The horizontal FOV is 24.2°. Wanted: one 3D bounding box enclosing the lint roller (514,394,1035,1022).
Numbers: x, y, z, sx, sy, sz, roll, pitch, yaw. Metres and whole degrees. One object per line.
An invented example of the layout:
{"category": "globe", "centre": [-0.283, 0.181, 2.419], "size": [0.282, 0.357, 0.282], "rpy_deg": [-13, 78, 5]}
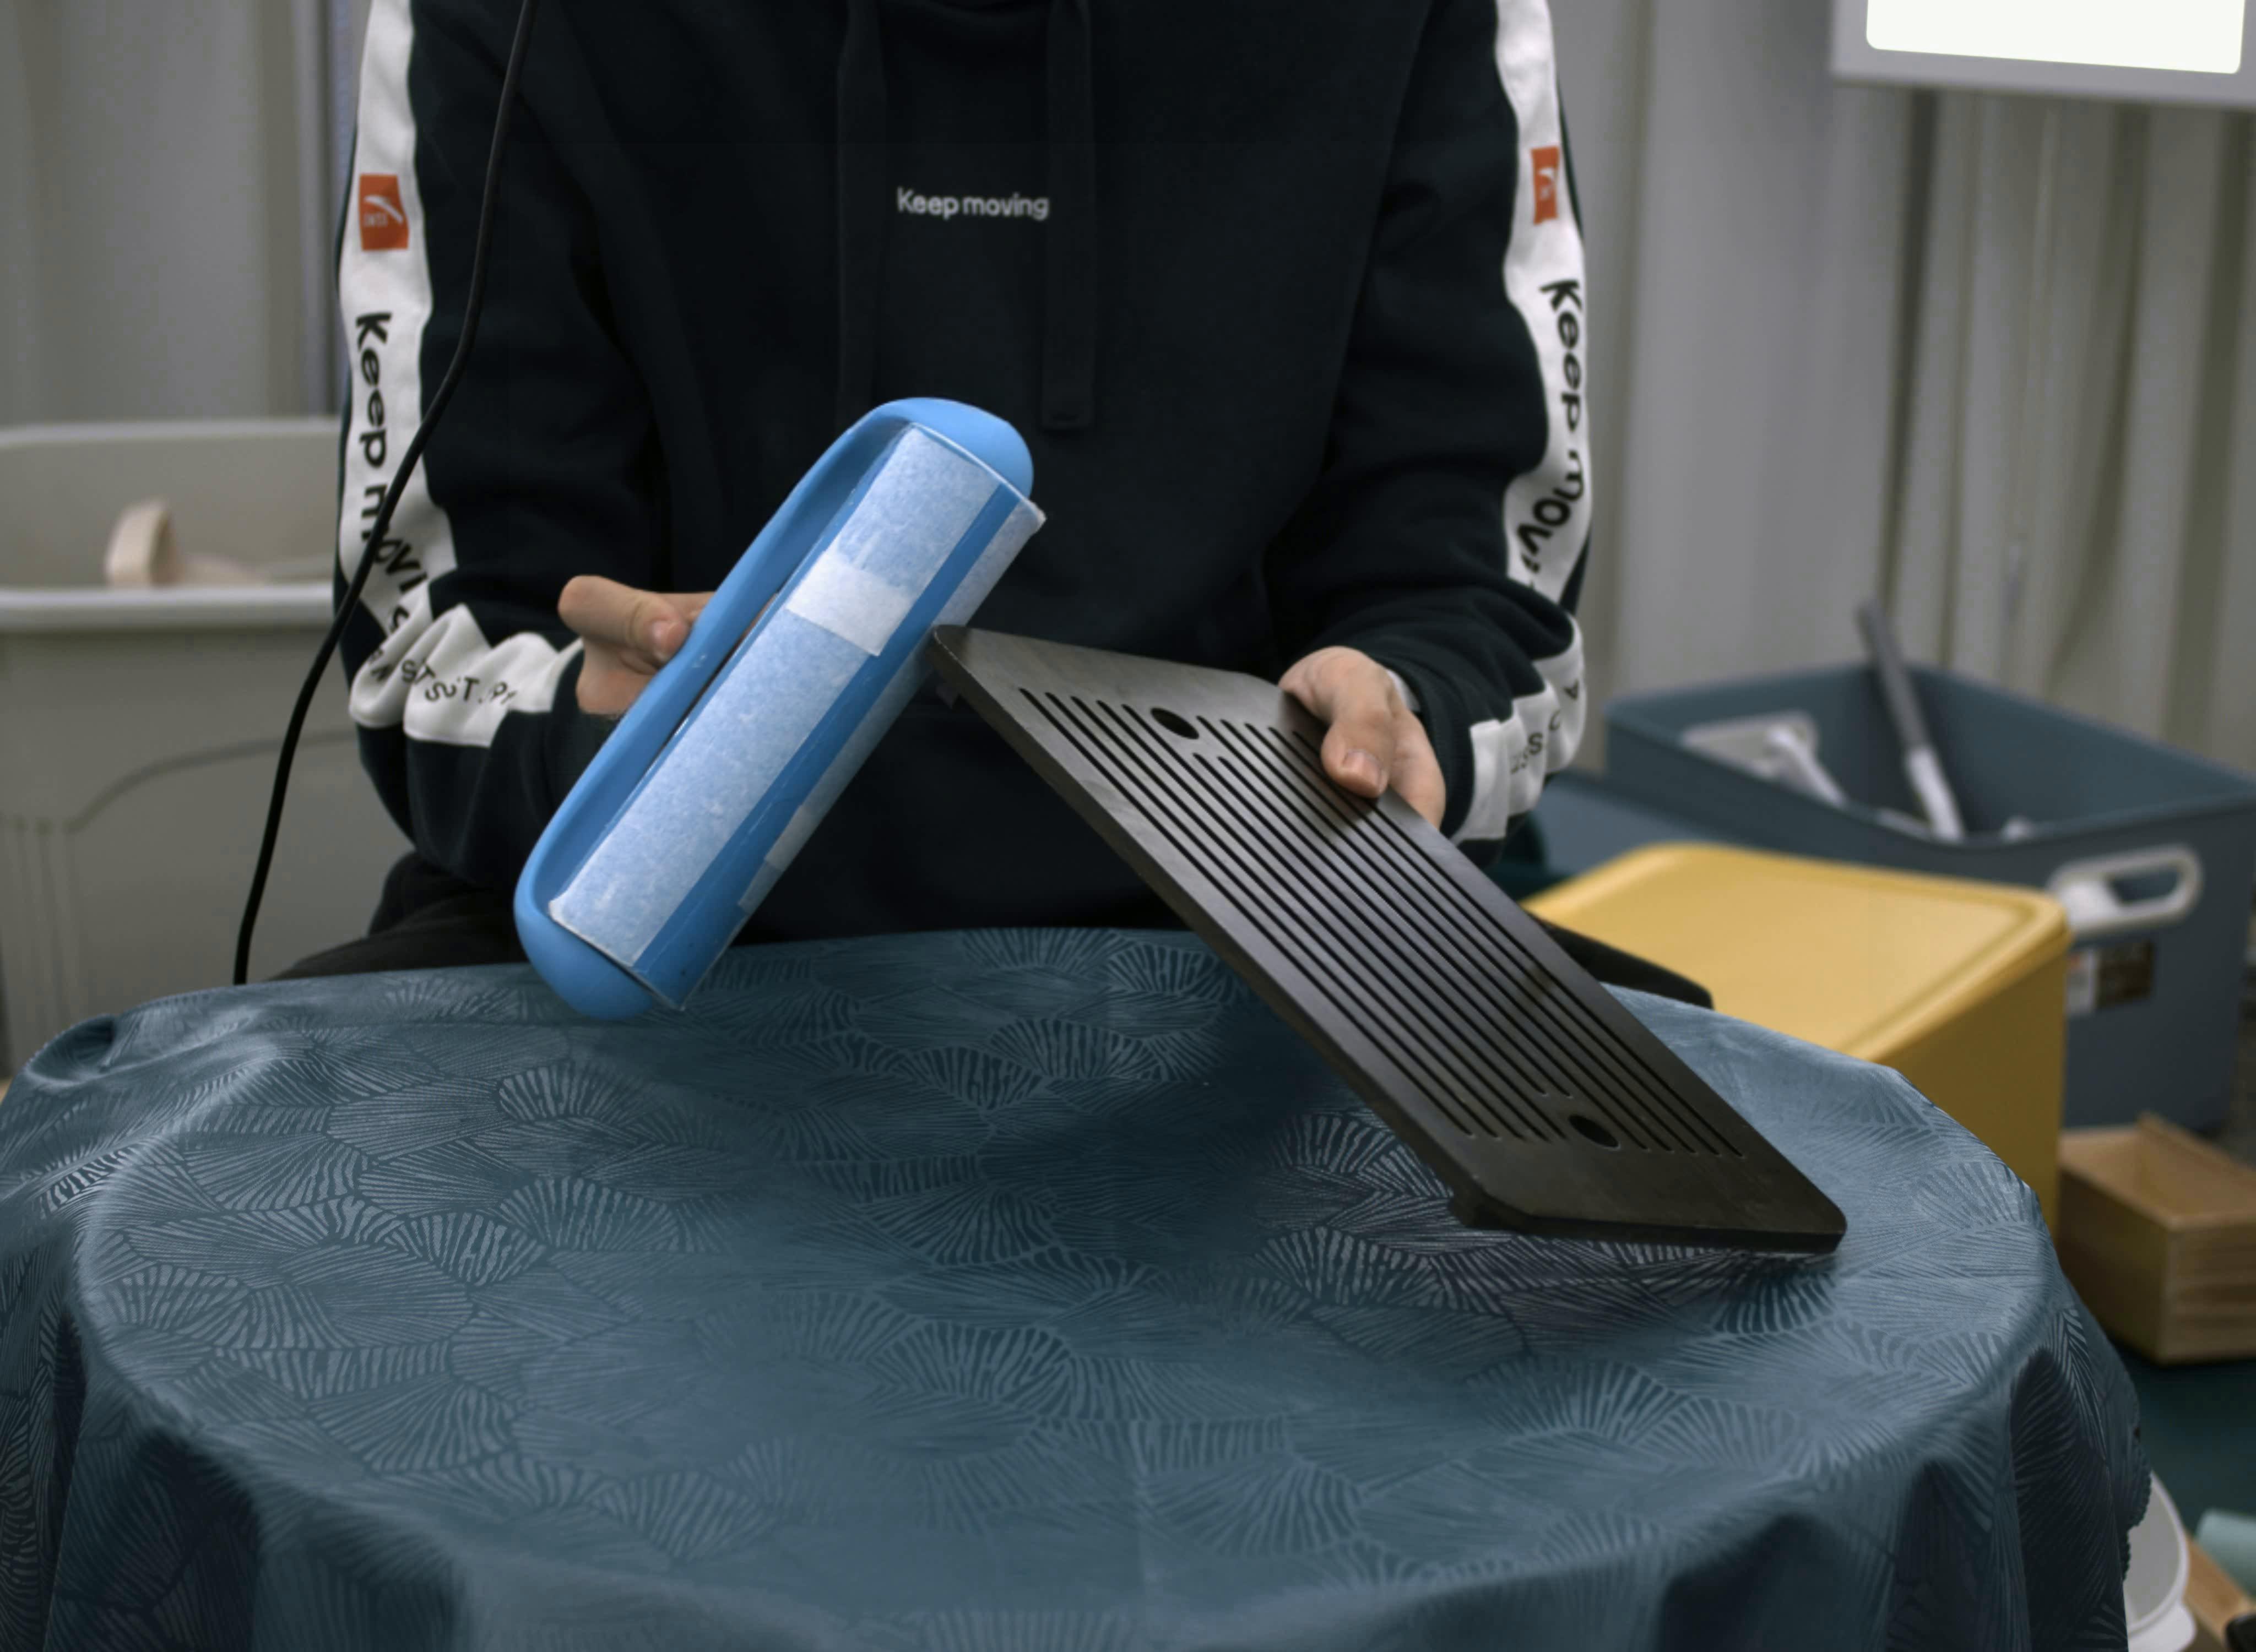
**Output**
{"category": "lint roller", "centre": [-0.123, -0.037, 1.694], "size": [0.068, 0.229, 0.179], "rpy_deg": [36, -10, -13]}

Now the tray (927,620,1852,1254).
{"category": "tray", "centre": [0.075, 0.035, 1.600], "size": [0.172, 0.019, 0.302], "rpy_deg": [7, 30, -47]}
